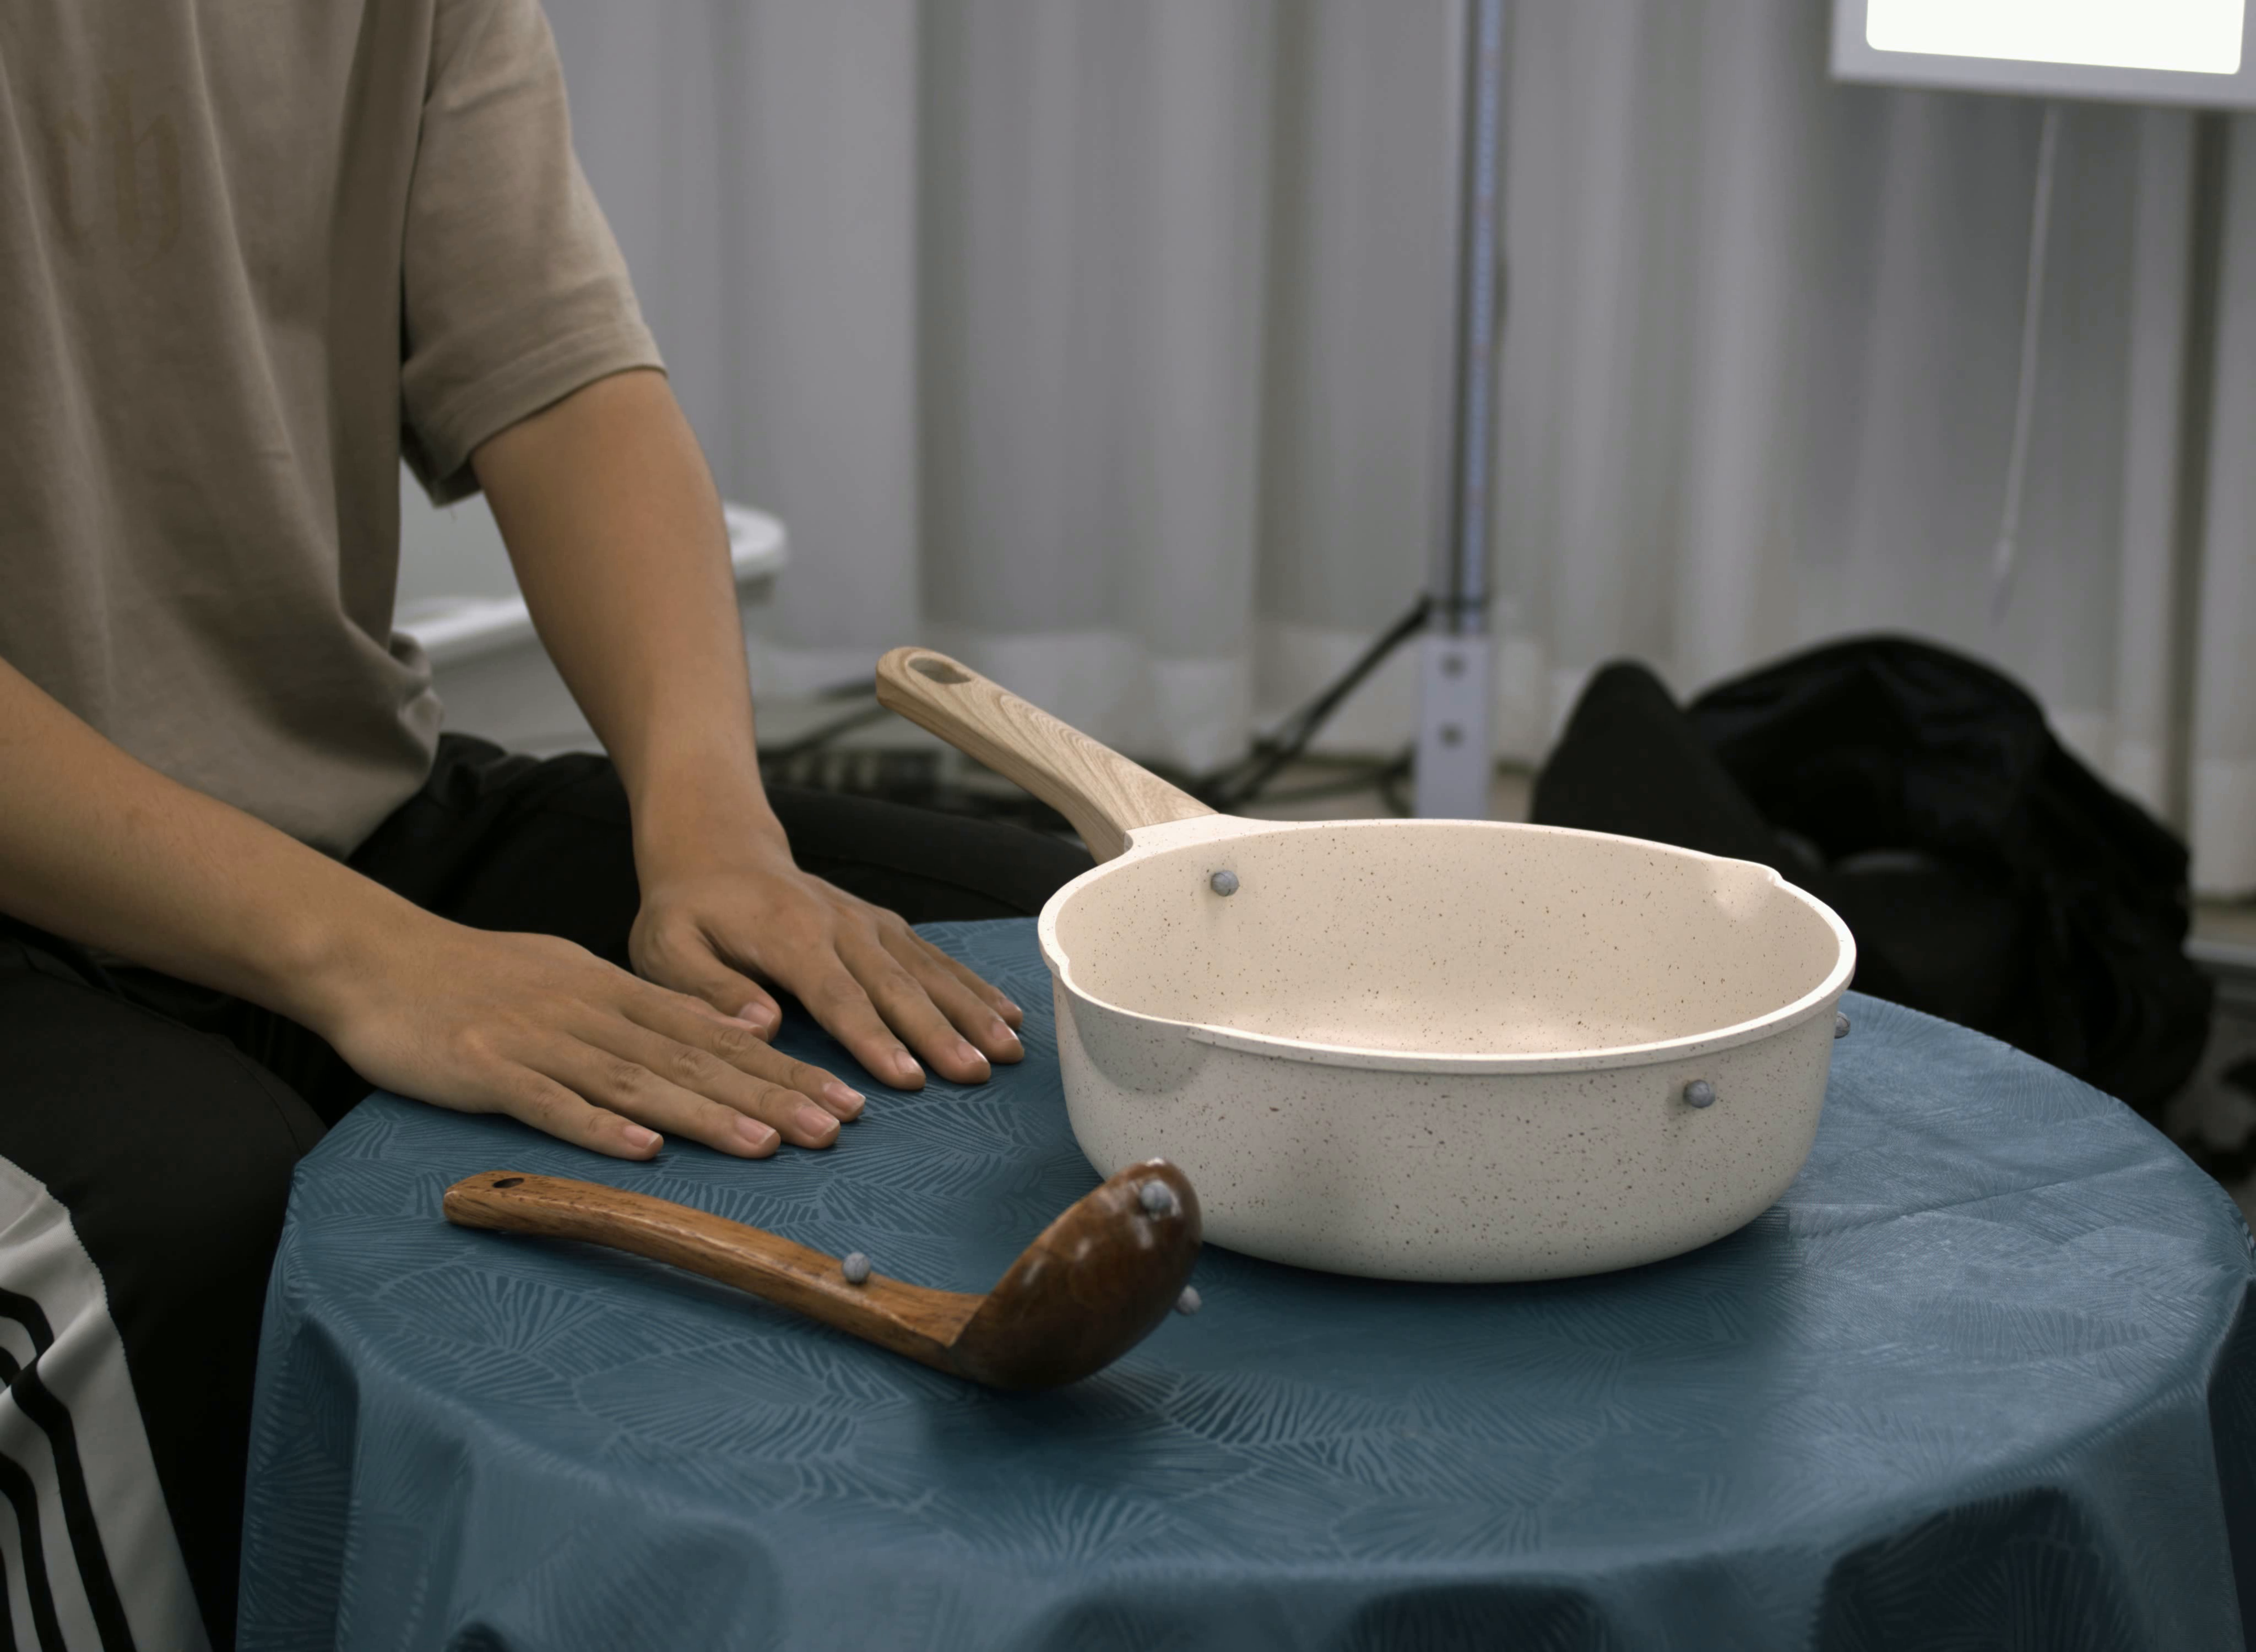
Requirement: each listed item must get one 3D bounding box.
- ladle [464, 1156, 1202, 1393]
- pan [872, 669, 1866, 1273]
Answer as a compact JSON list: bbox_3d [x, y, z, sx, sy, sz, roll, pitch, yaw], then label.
[{"bbox_3d":[-0.095,0.105,1.502,0.270,0.077,0.082,14,22,38],"label":"ladle"},{"bbox_3d":[0.048,0.041,1.700,0.264,0.103,0.429,-12,20,-34],"label":"pan"}]
